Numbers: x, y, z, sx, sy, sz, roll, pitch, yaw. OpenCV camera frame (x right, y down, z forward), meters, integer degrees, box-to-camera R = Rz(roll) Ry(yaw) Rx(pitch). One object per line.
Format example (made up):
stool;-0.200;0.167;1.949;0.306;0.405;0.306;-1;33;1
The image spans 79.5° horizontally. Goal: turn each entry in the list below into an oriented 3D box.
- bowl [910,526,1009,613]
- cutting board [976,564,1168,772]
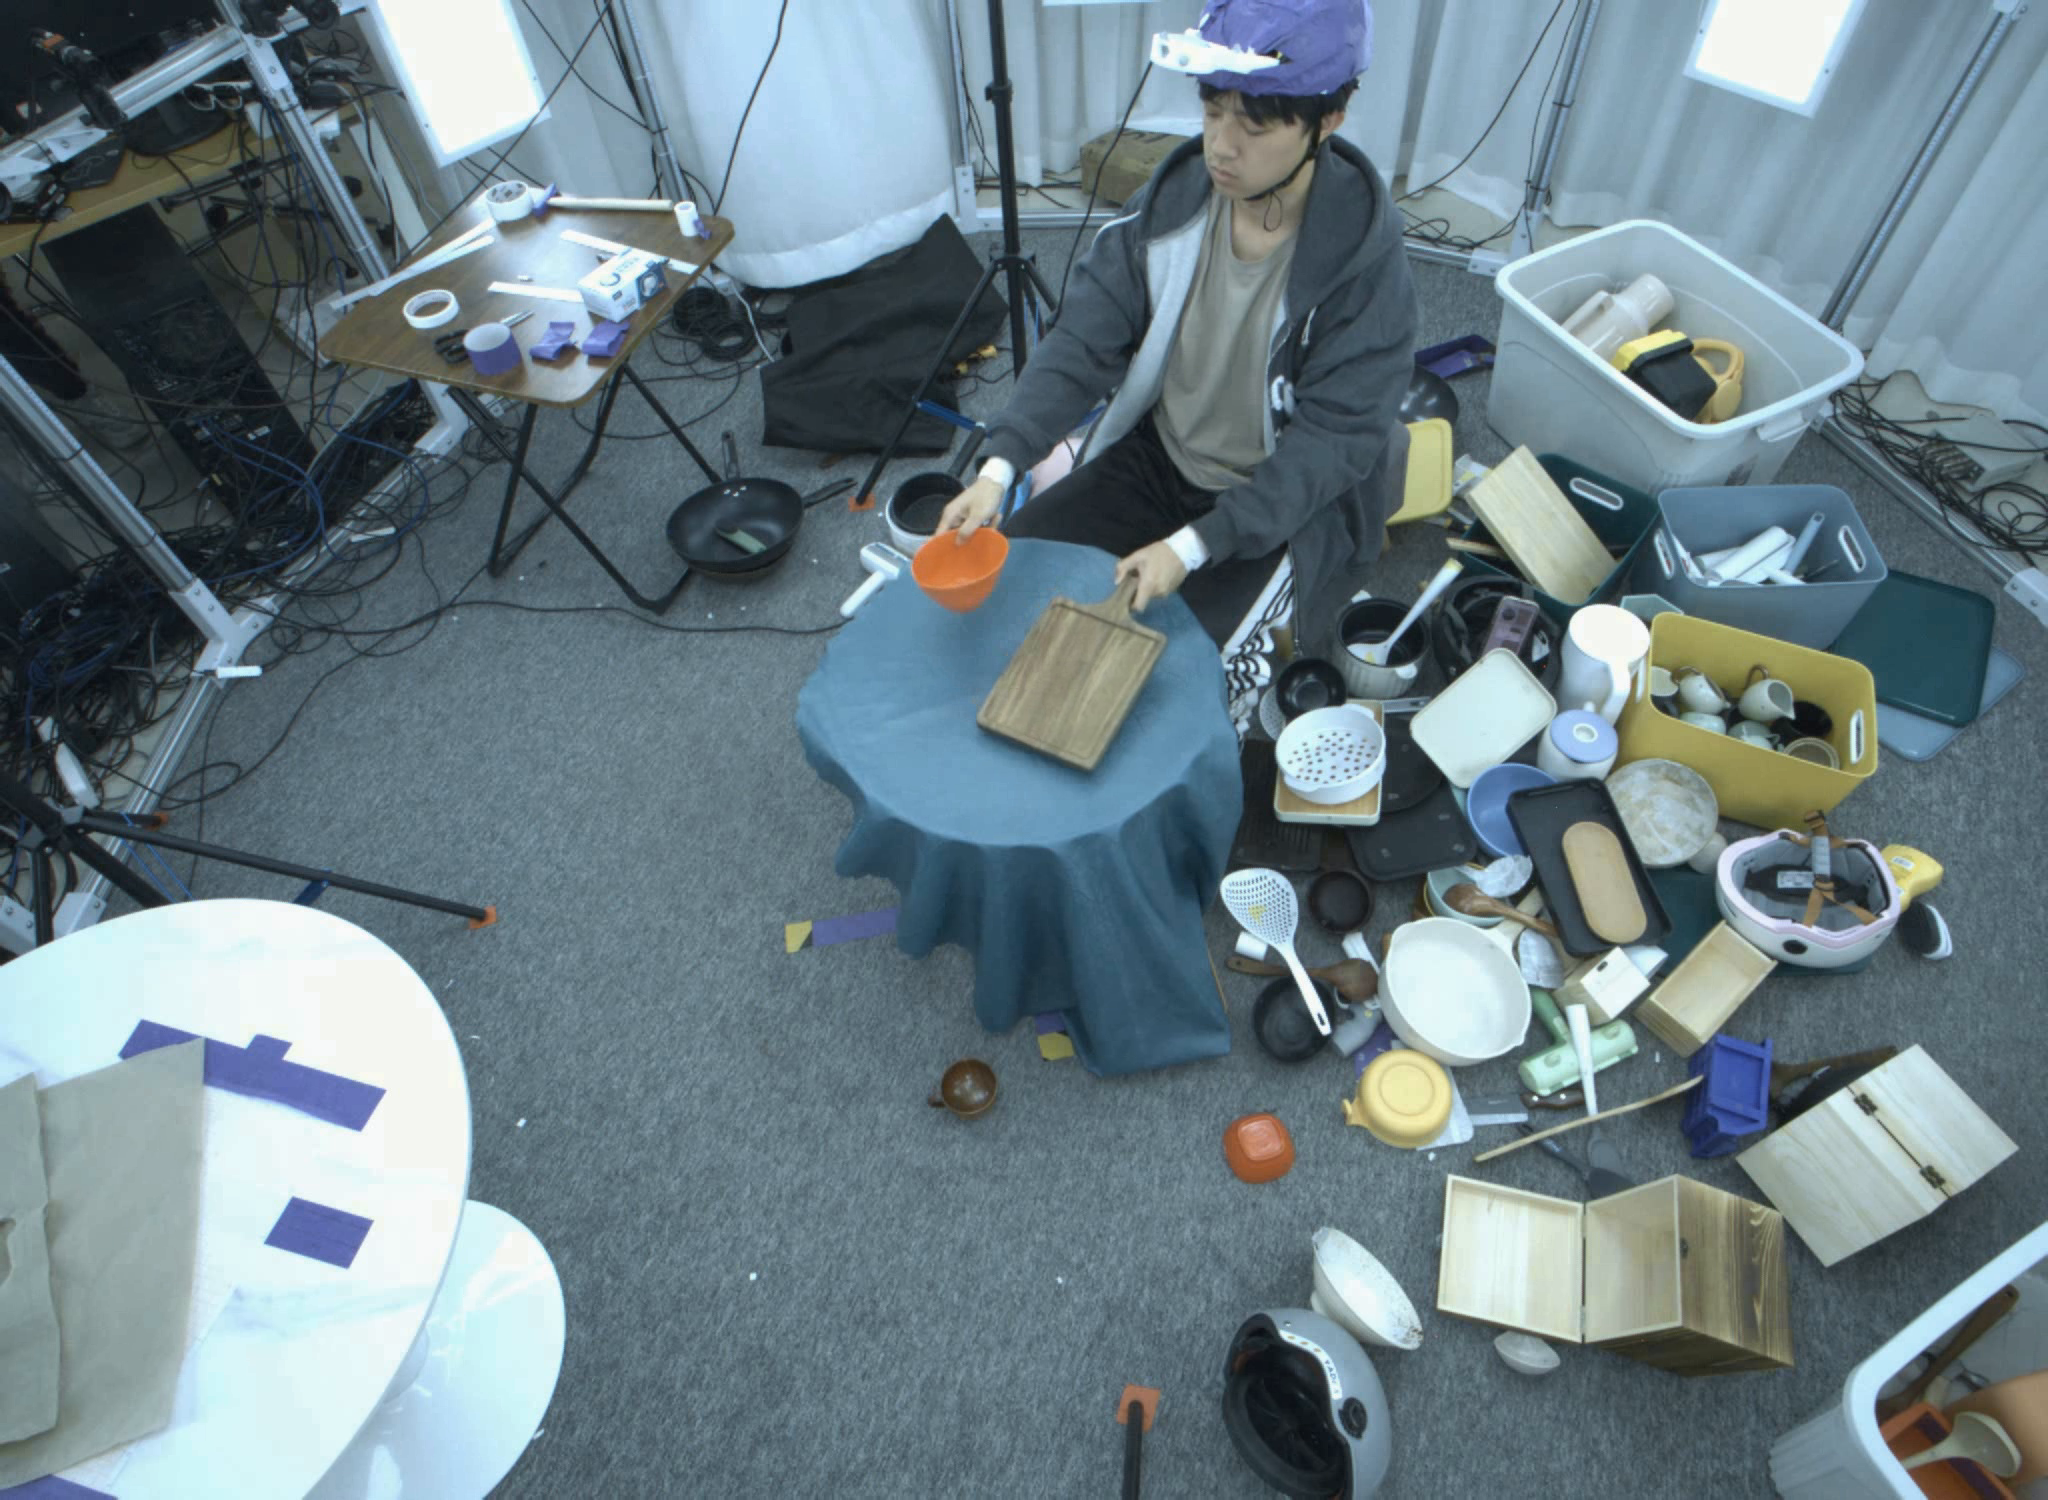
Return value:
bowl;-0.091;-0.257;1.816;0.147;0.106;0.146;-2;53;4
cutting board;0.095;-0.141;1.828;0.198;0.023;0.352;23;66;18
